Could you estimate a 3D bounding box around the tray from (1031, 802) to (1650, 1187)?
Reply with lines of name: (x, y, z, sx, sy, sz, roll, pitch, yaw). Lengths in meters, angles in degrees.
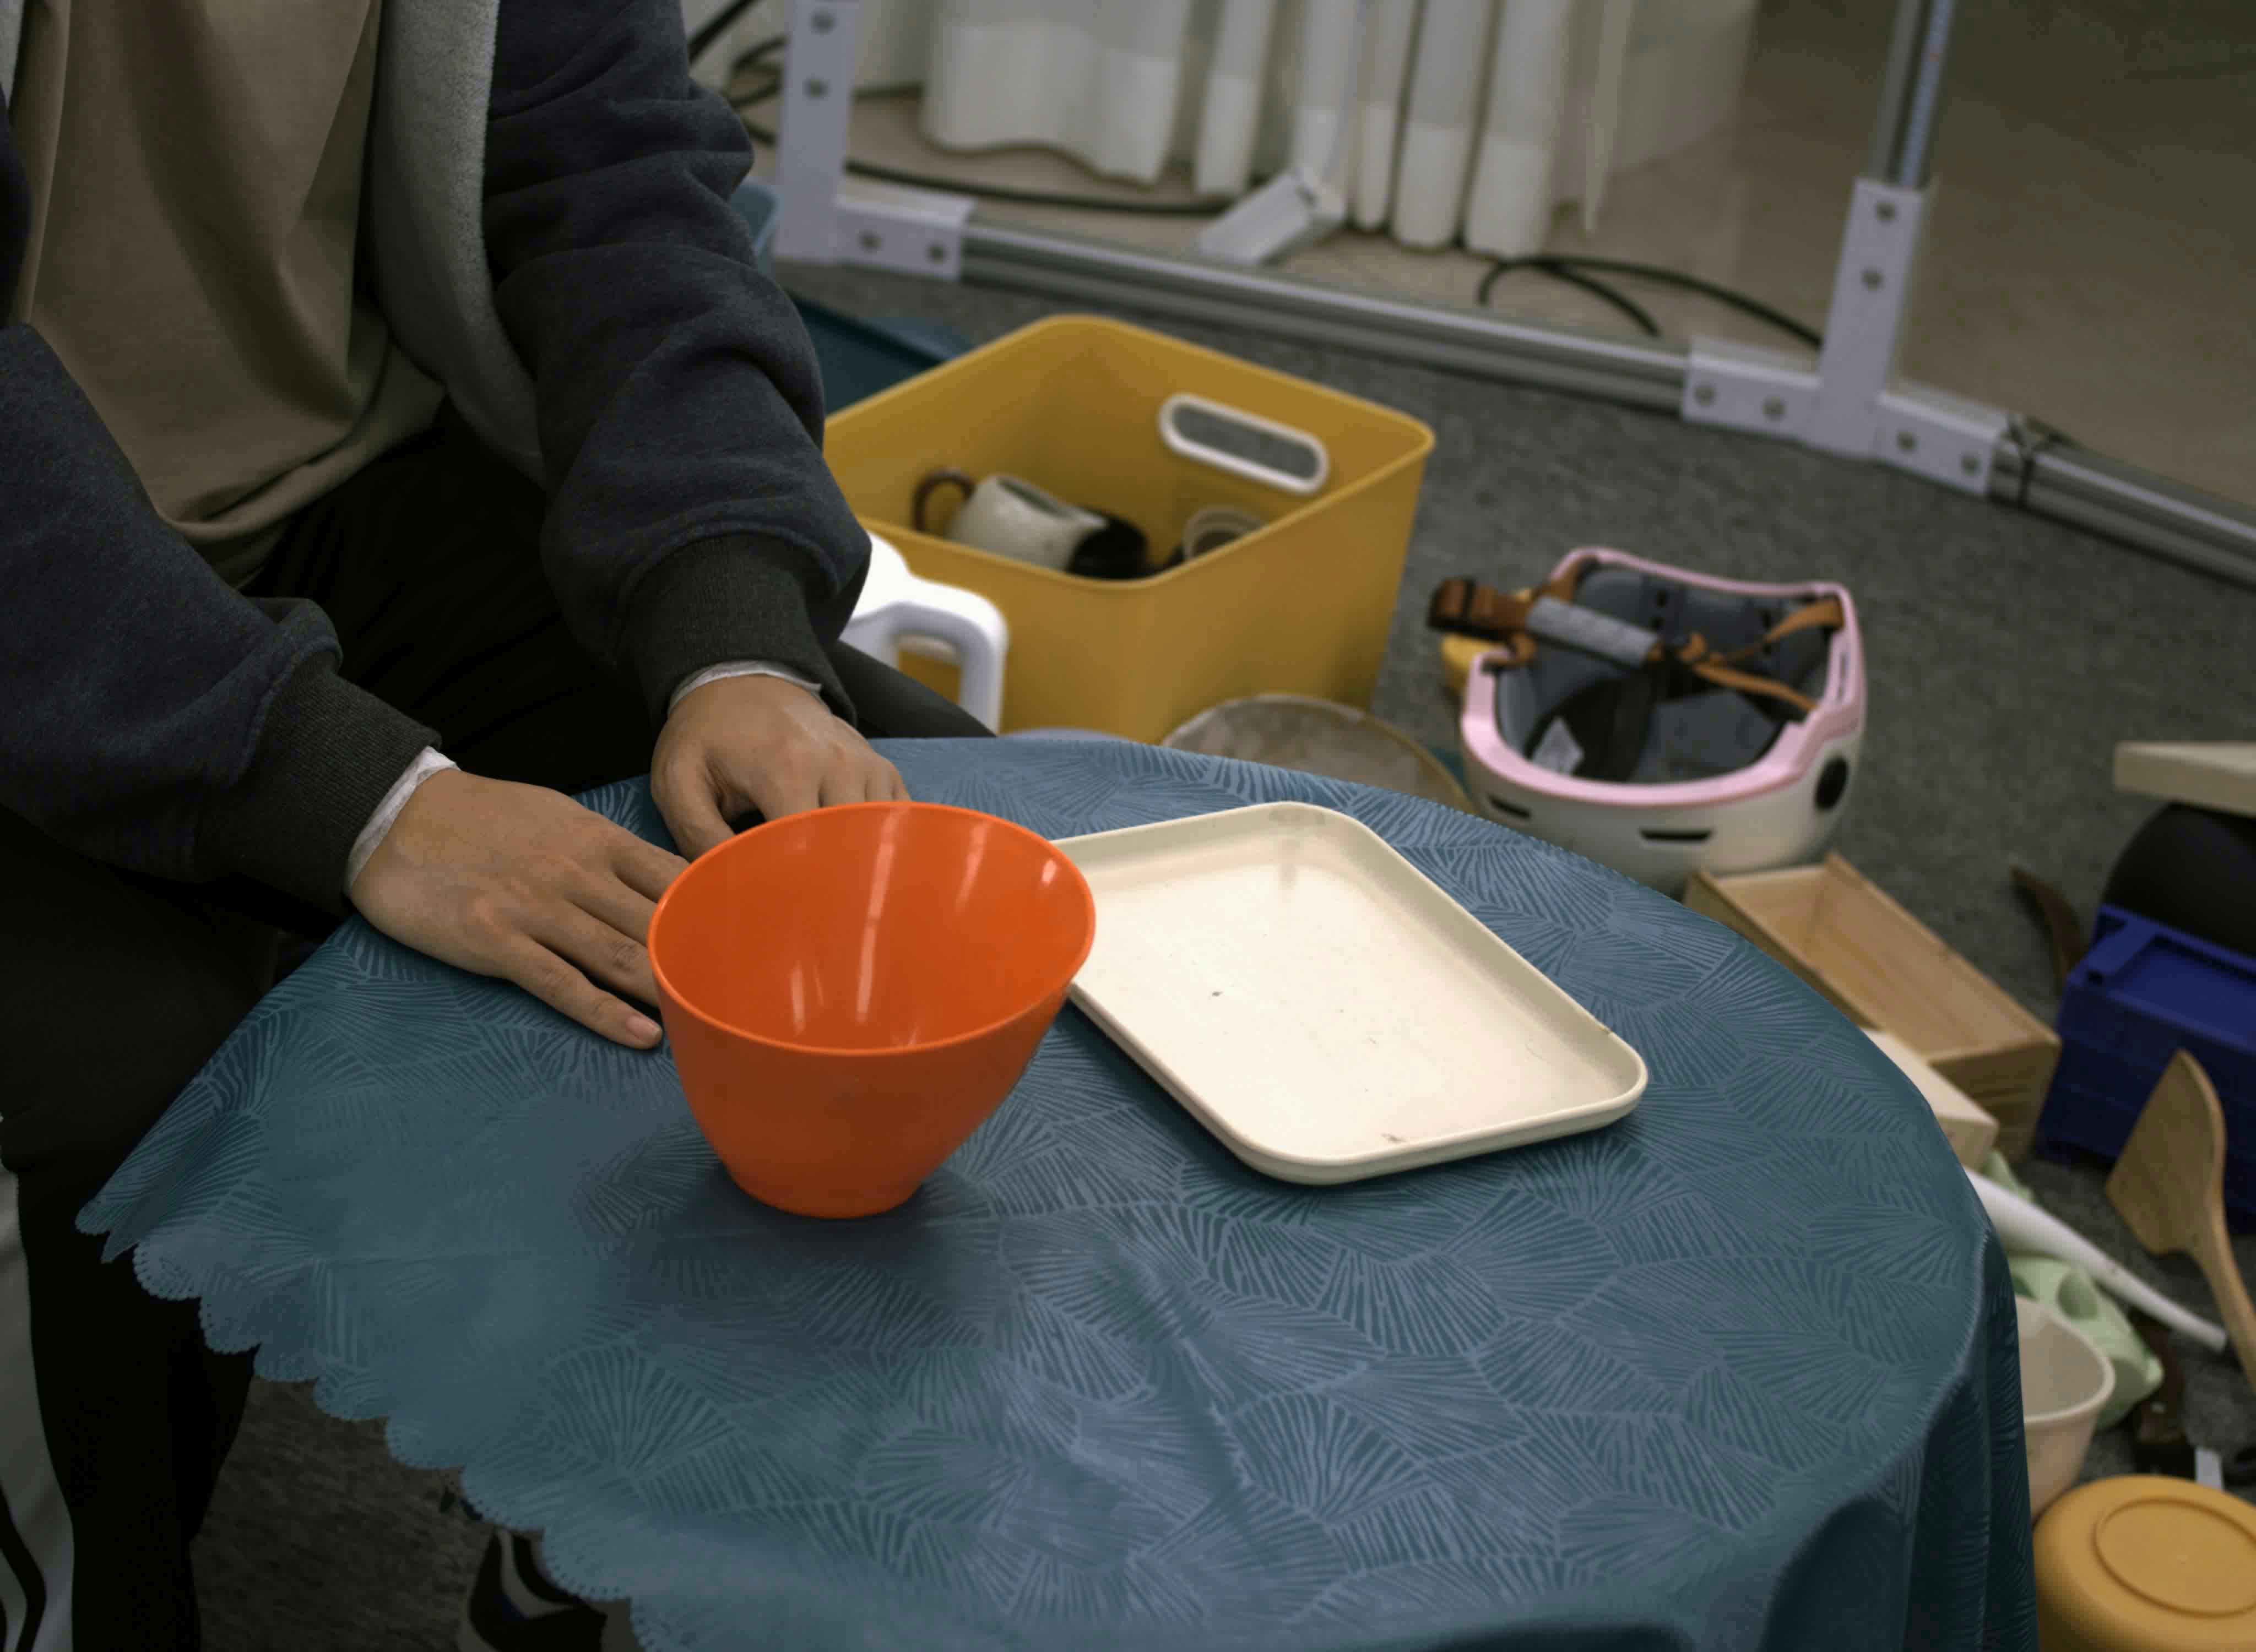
tray: (0.063, 0.059, 1.923, 0.170, 0.017, 0.242, -10, 31, -29)

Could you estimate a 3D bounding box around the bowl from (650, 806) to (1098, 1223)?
bowl: (-0.089, 0.069, 1.778, 0.147, 0.104, 0.149, 7, 27, -4)
